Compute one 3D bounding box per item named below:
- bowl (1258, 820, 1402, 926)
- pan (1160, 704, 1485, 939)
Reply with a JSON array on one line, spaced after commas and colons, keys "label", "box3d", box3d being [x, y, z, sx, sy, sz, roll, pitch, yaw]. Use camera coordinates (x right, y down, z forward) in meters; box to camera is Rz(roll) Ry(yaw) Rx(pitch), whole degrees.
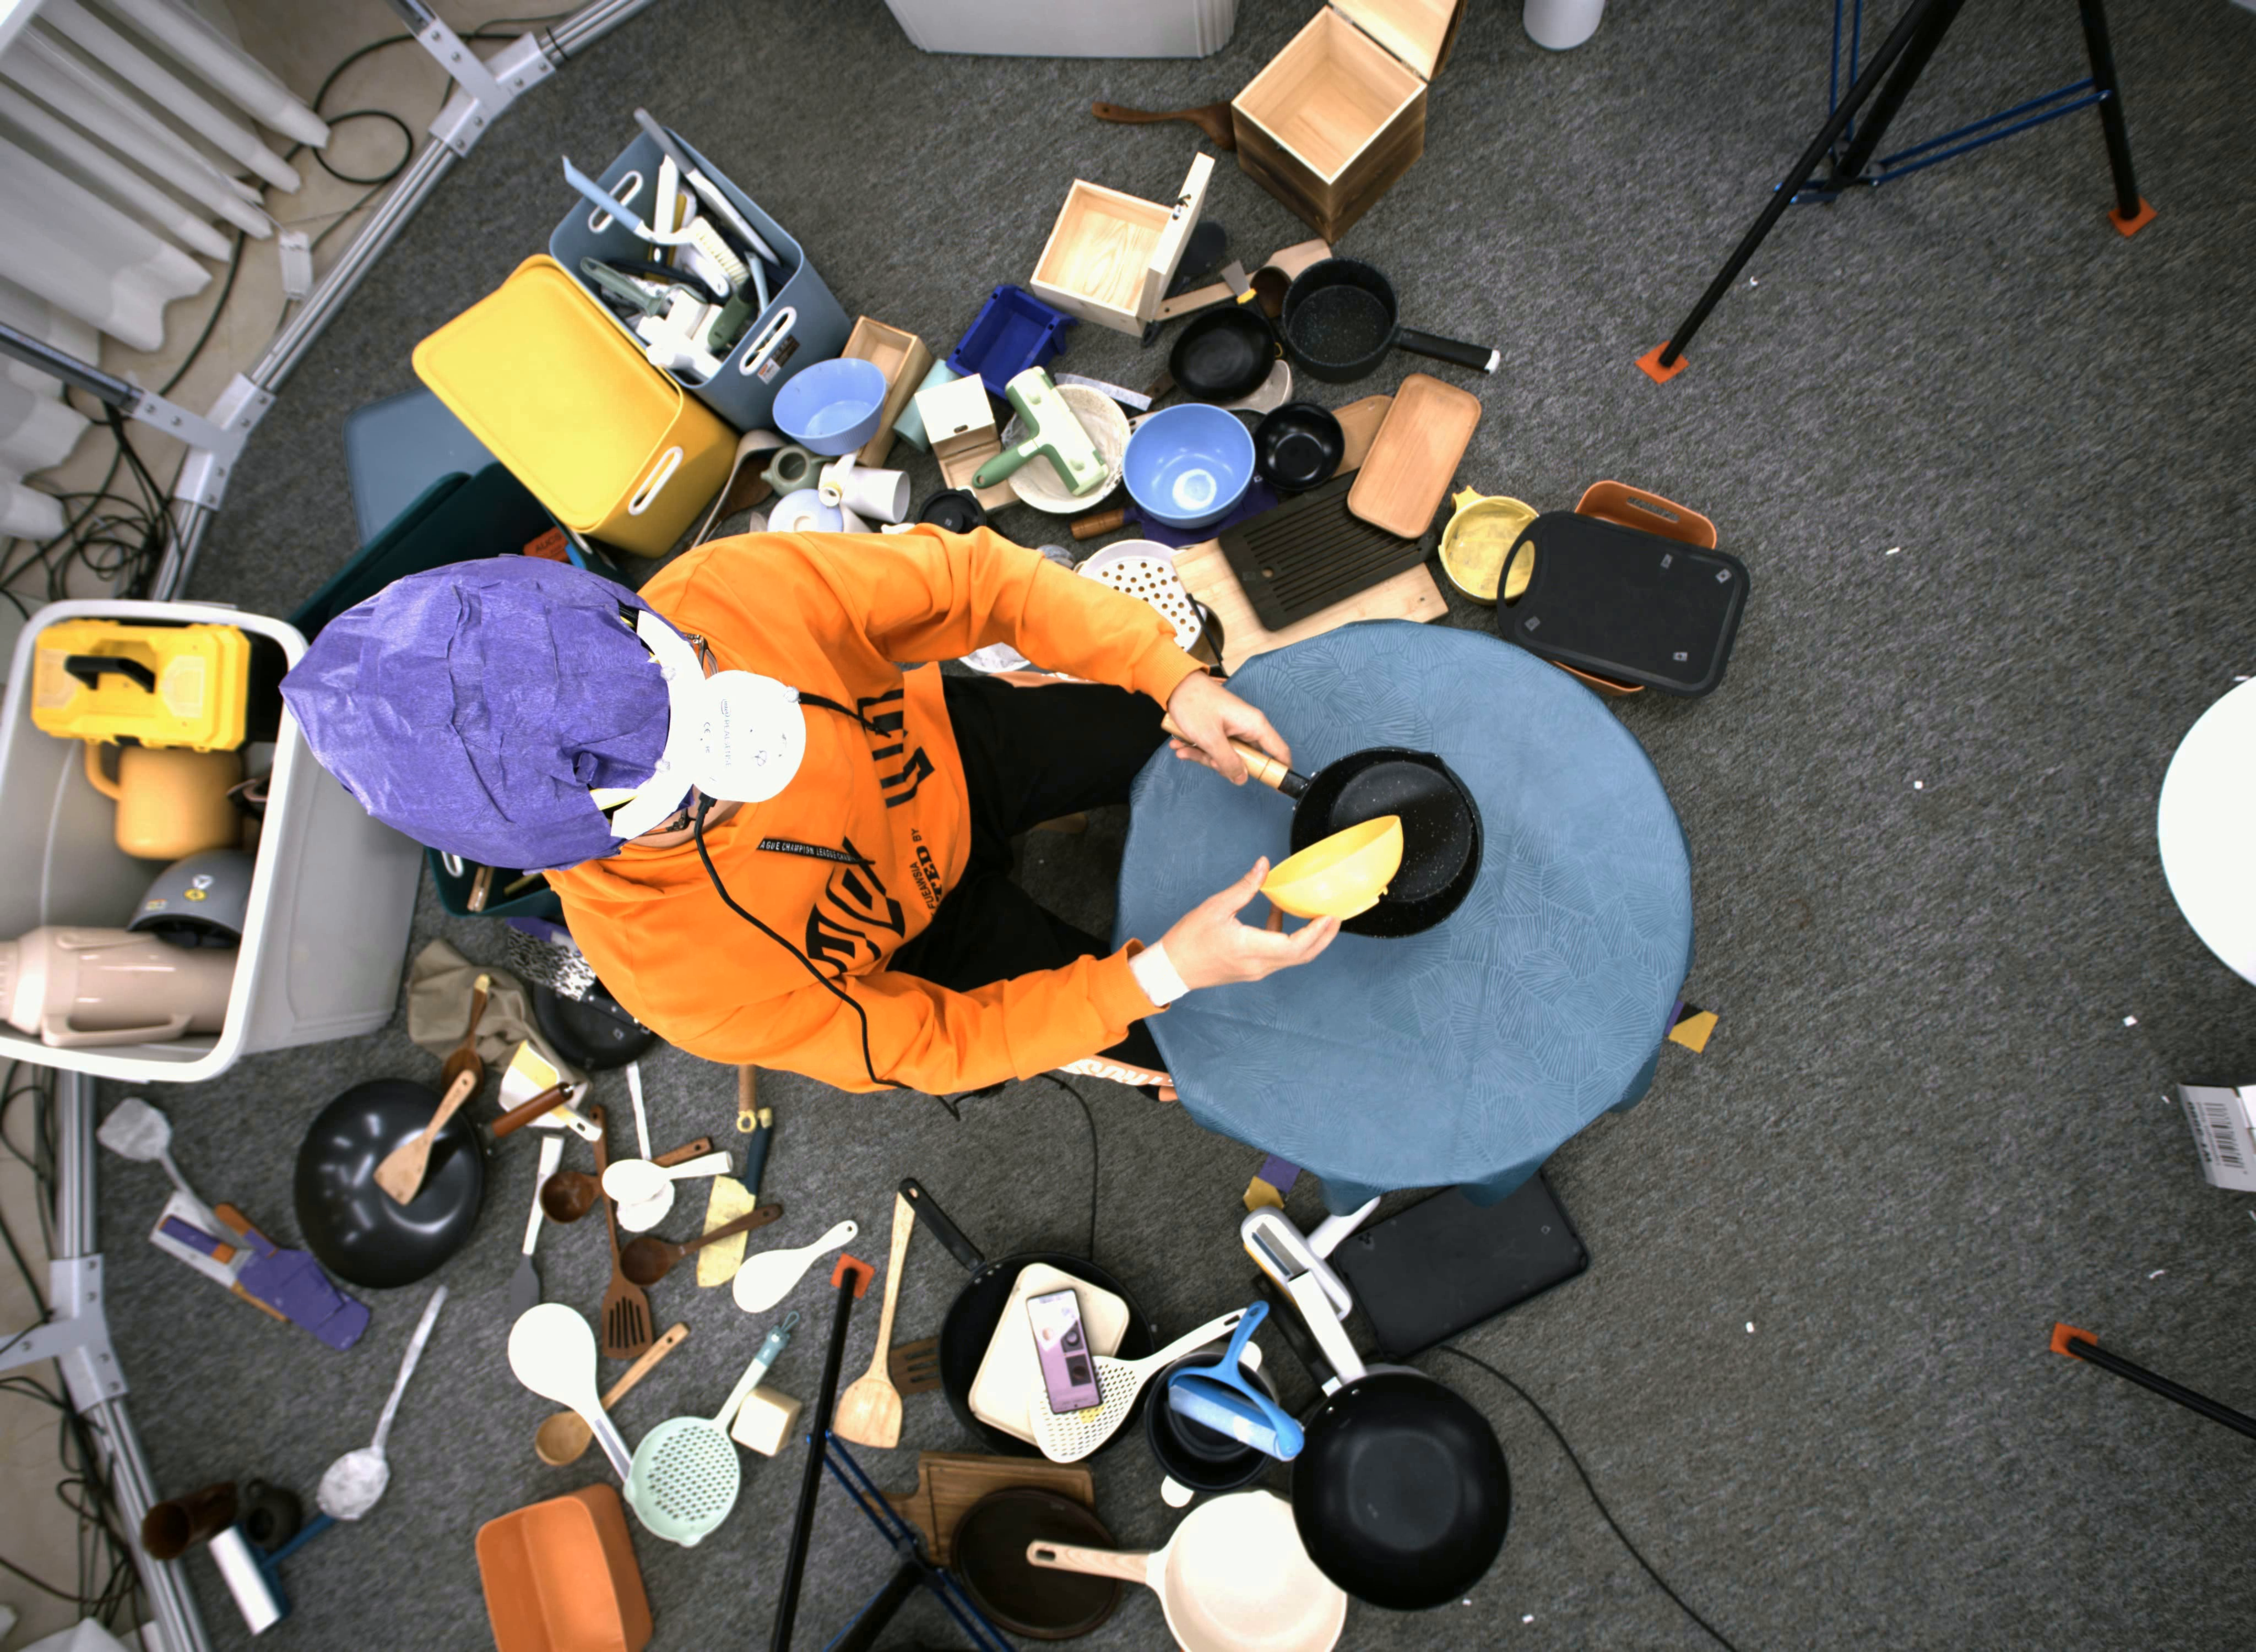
[{"label": "bowl", "box3d": [0.197, 0.051, 1.278, 0.146, 0.144, 0.060, -27, 95, 7]}, {"label": "pan", "box3d": [0.189, -0.028, 1.360, 0.342, 0.106, 0.211, 31, 112, 13]}]
